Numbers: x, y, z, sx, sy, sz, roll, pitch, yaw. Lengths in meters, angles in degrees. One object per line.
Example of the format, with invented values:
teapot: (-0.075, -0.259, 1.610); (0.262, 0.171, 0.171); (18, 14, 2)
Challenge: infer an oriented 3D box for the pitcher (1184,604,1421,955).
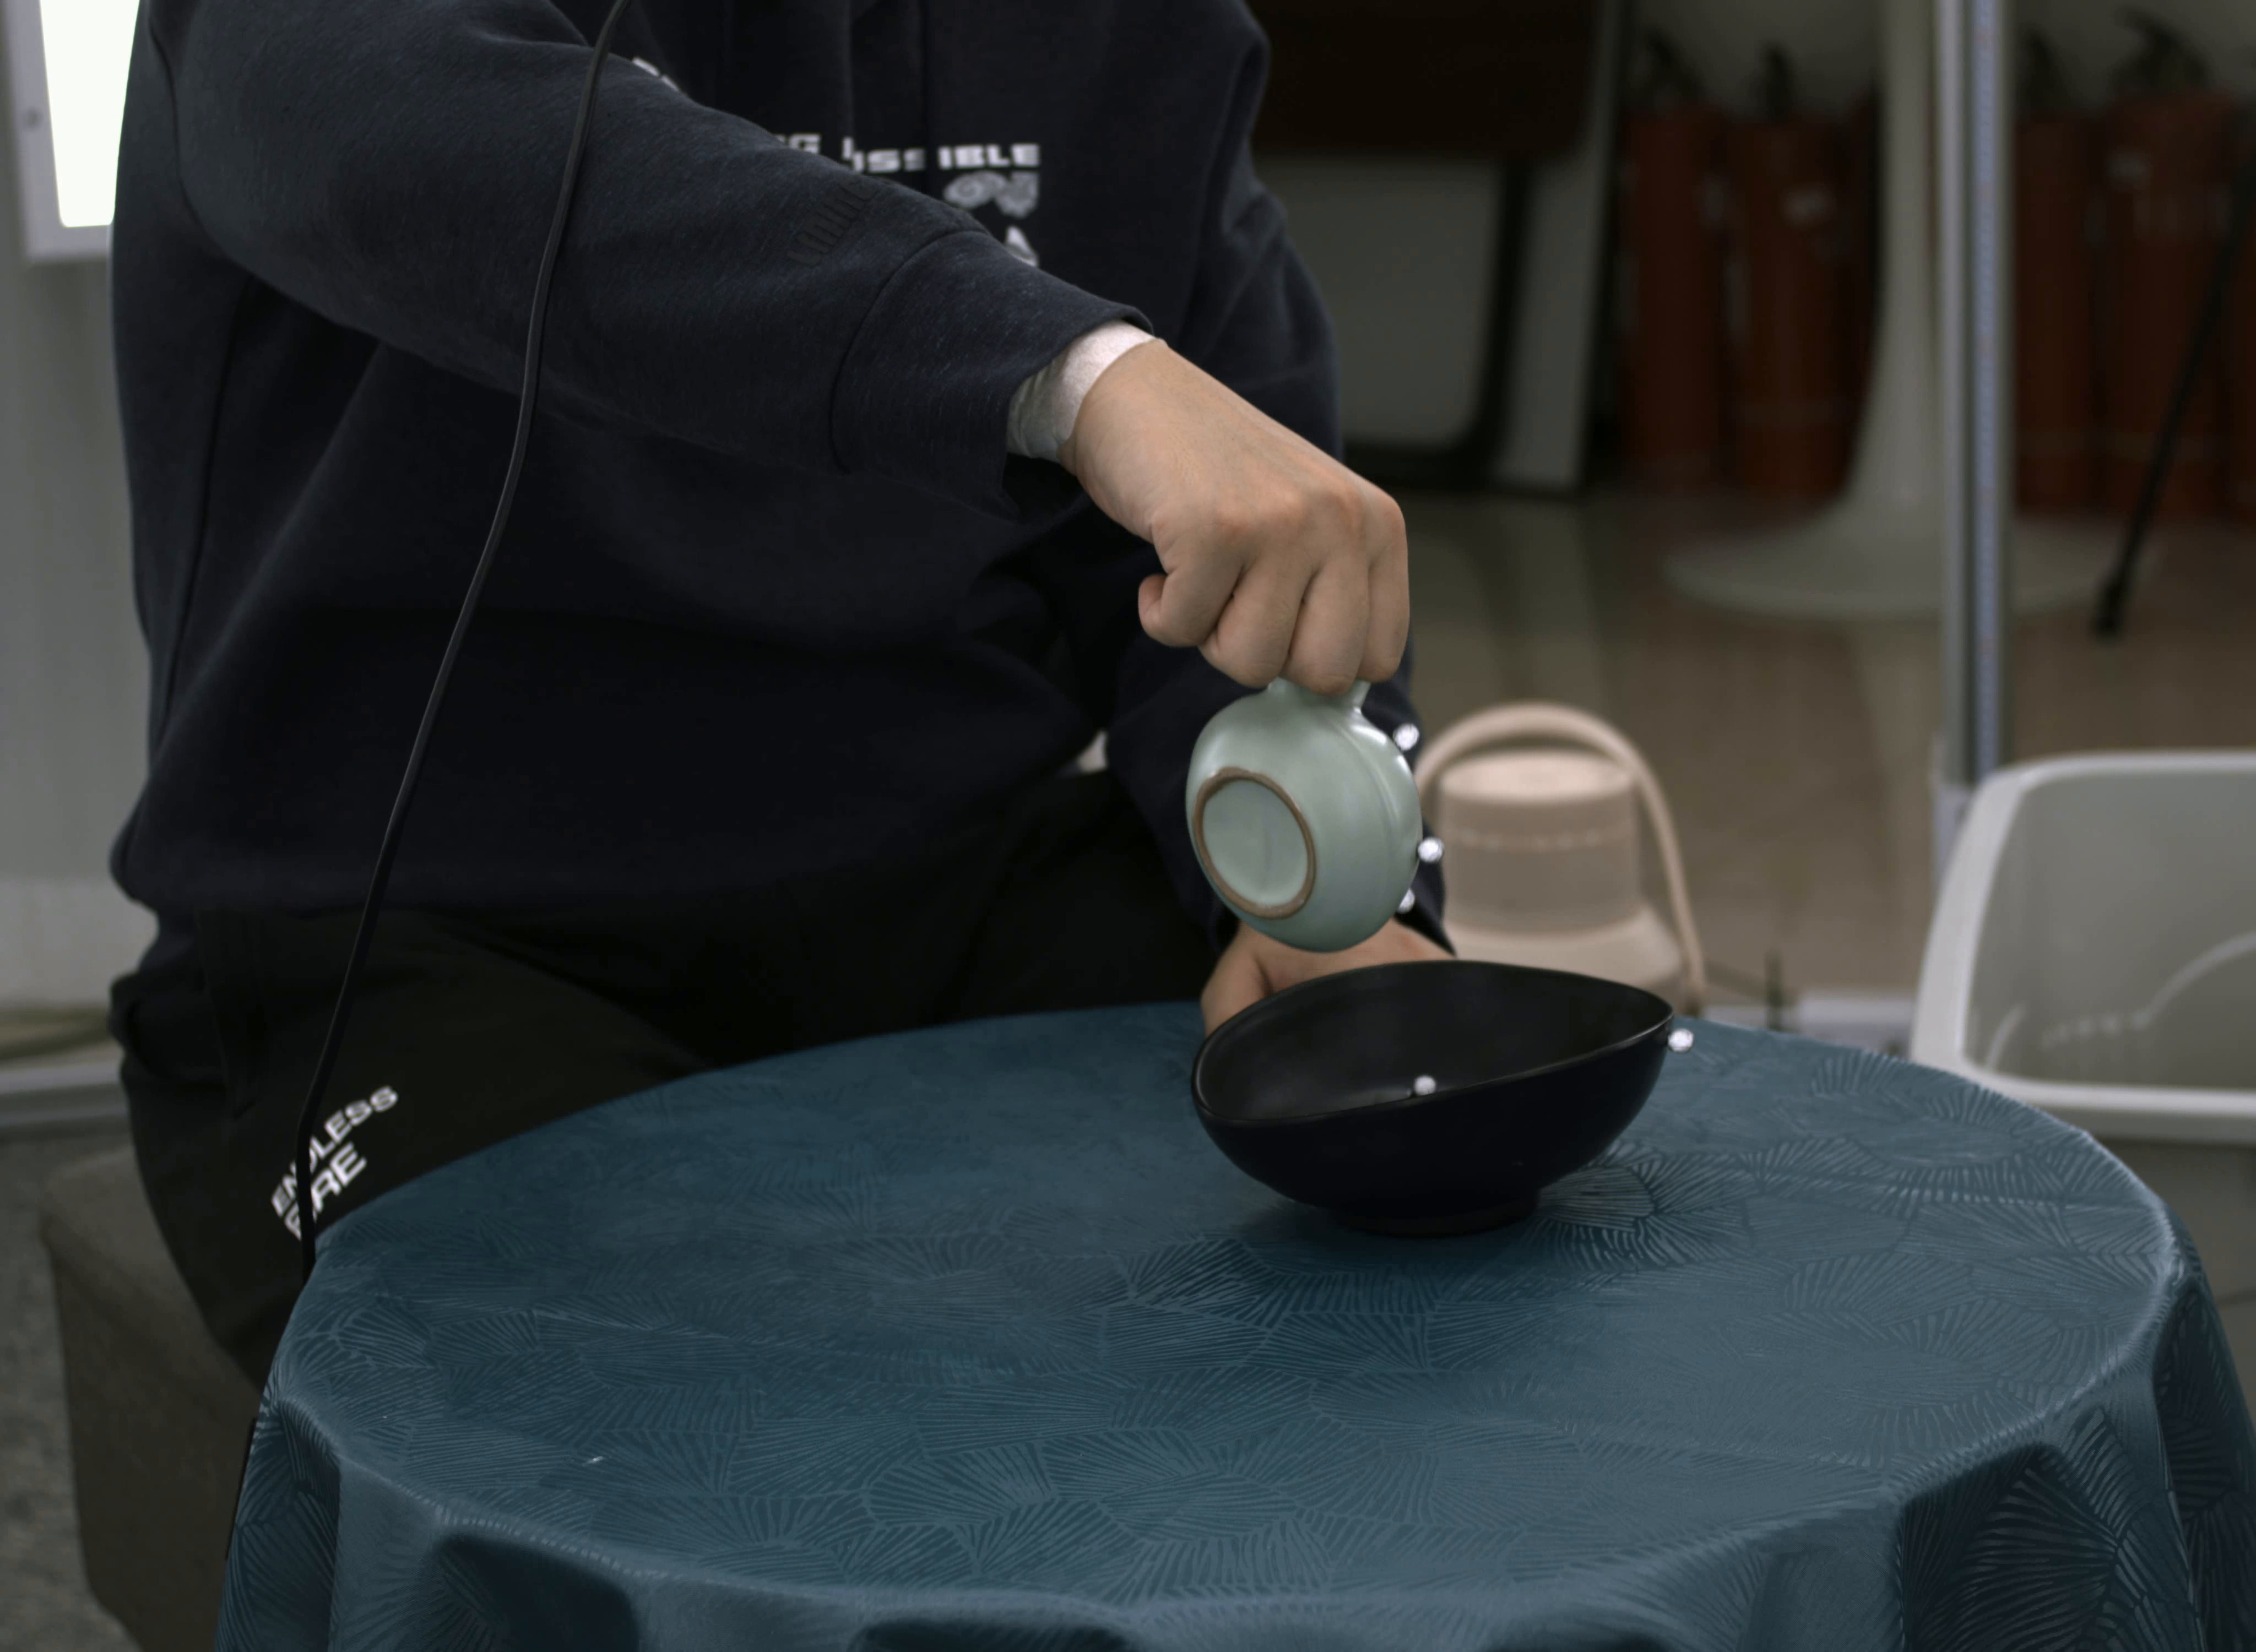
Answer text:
pitcher: (0.056, -0.015, 1.672); (0.087, 0.109, 0.059); (17, 31, 40)

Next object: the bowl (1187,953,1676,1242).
bowl: (0.100, 0.092, 1.732); (0.166, 0.067, 0.139); (-14, 16, -33)
